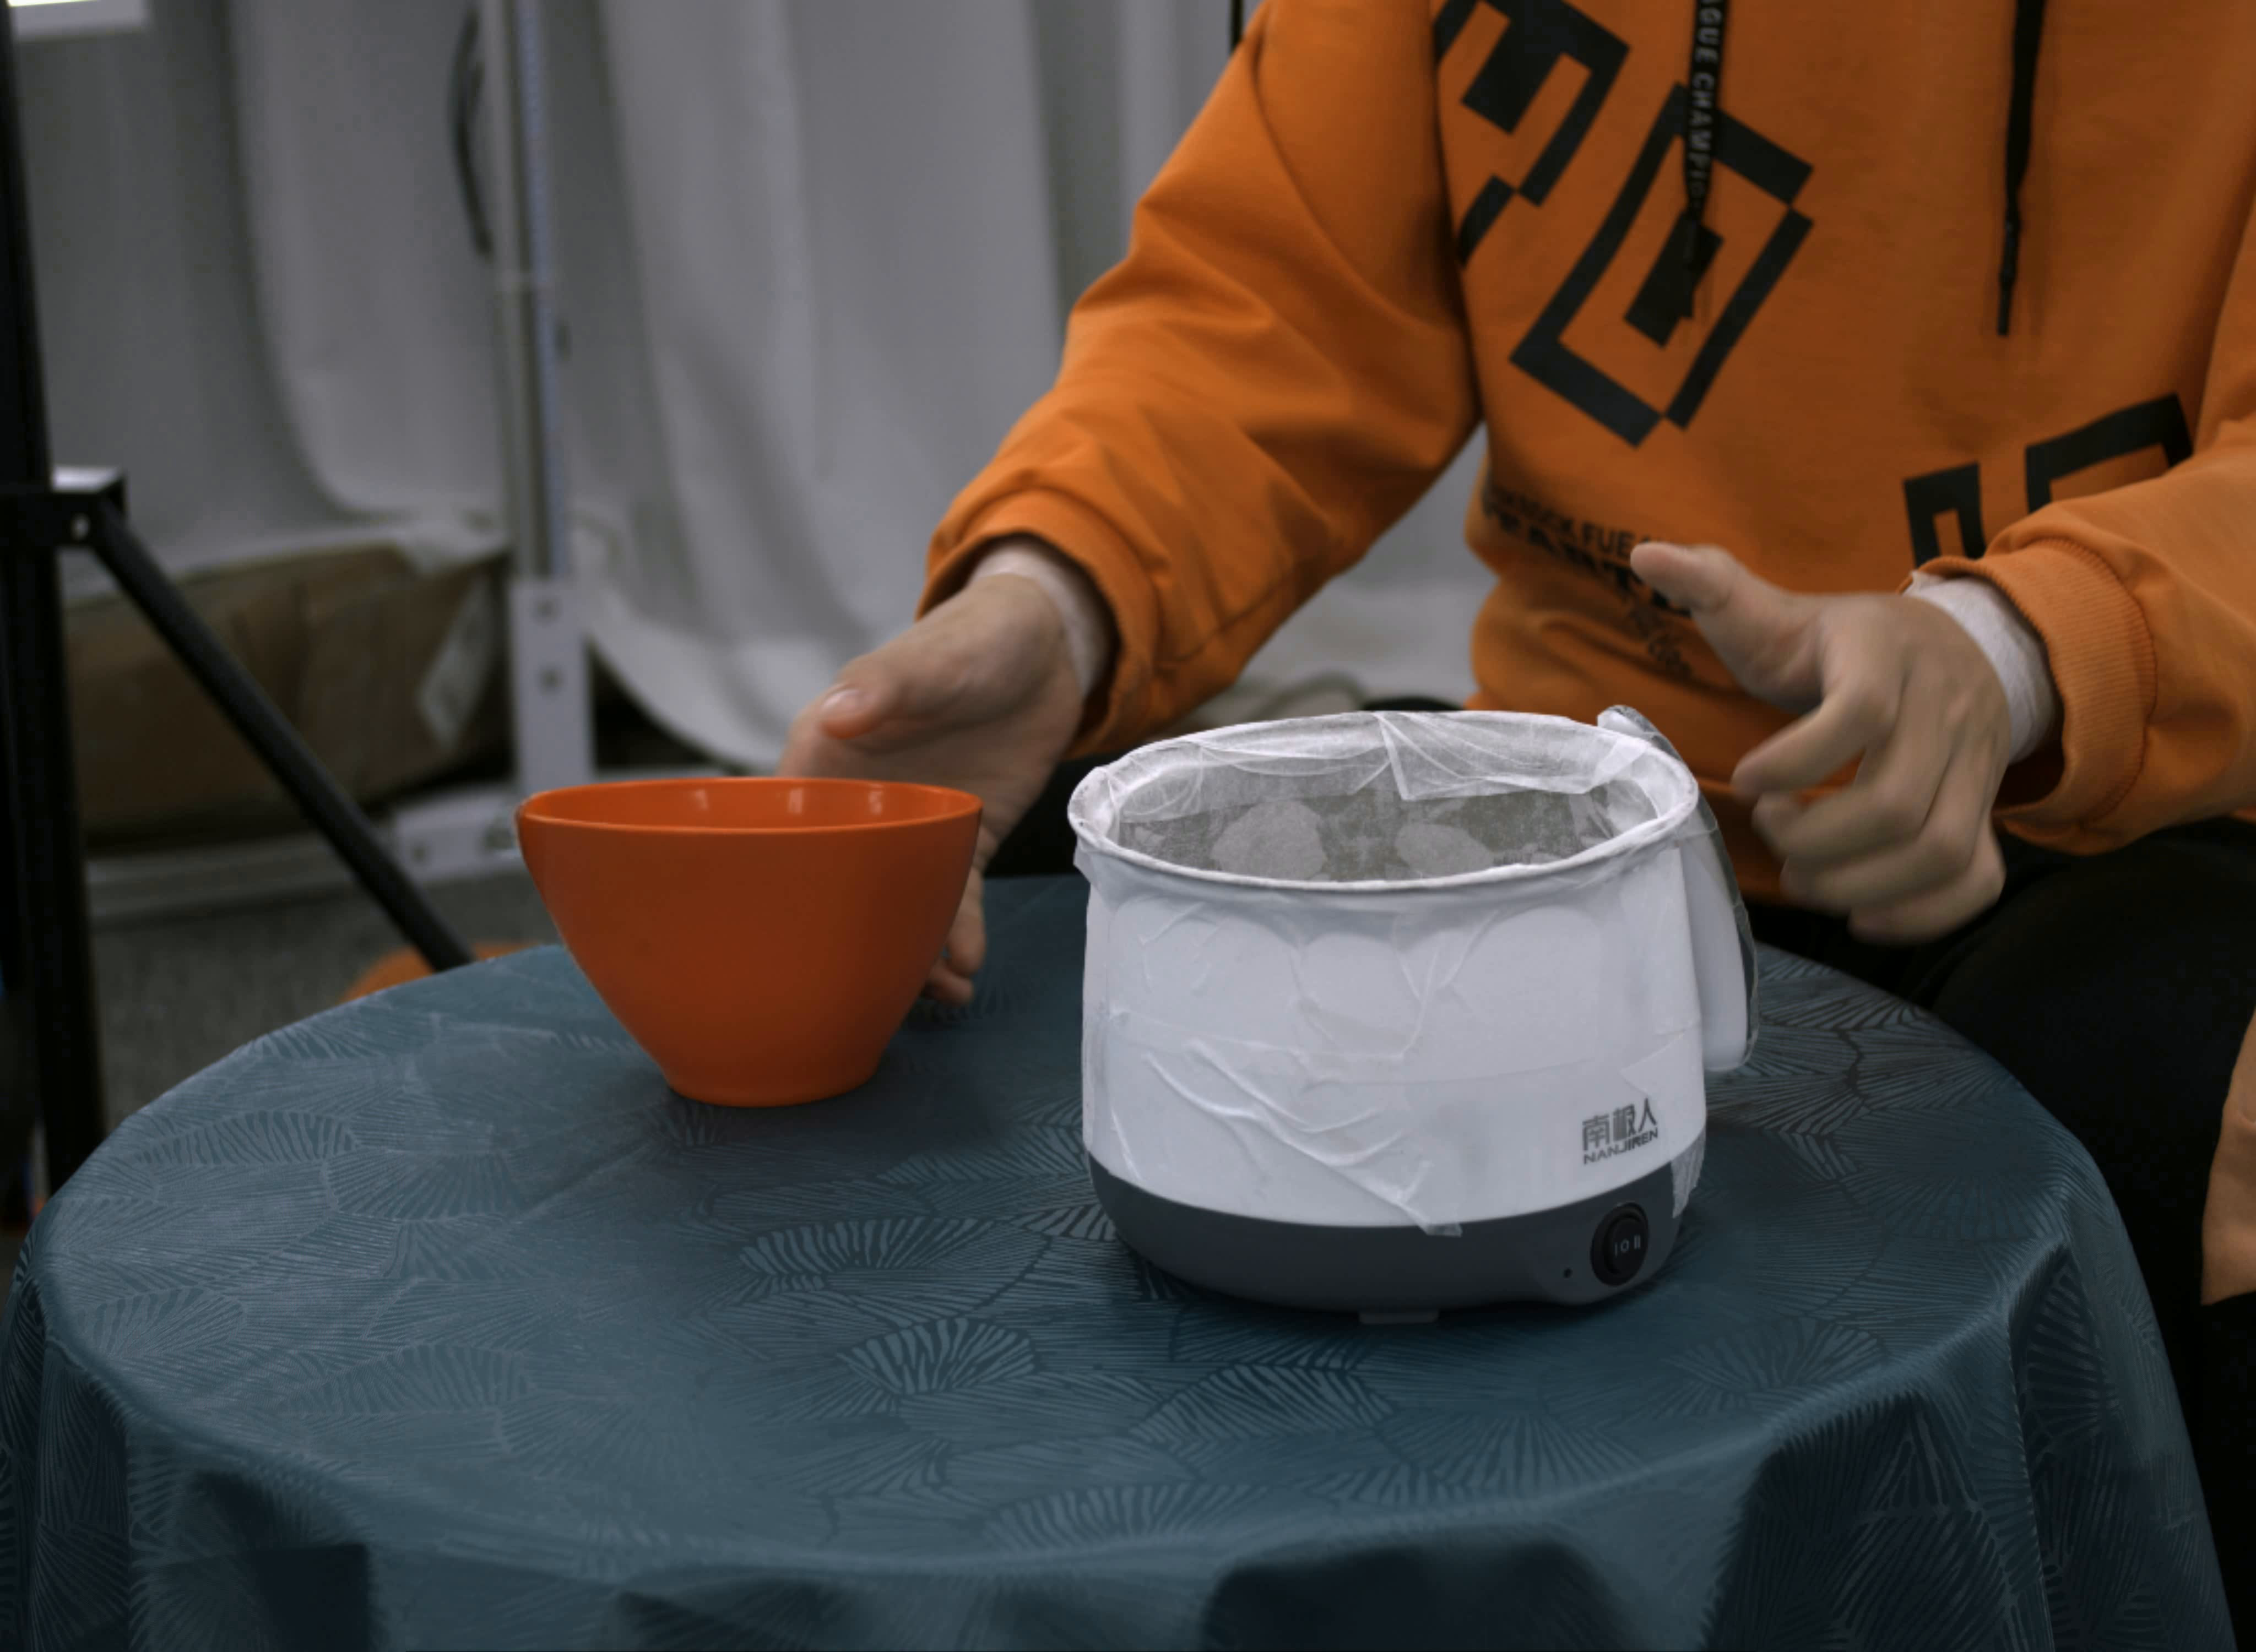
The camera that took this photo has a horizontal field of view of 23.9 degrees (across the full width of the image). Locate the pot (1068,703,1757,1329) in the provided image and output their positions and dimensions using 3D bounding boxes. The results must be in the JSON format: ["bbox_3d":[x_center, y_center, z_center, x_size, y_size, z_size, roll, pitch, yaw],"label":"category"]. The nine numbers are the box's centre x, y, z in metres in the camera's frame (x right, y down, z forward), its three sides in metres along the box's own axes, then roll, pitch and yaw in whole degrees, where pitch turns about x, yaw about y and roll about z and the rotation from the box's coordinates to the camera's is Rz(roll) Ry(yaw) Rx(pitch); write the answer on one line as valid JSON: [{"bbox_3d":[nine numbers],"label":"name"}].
[{"bbox_3d":[0.093,0.046,1.510,0.228,0.136,0.183,-17,22,-41],"label":"pot"}]

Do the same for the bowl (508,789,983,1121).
[{"bbox_3d":[-0.117,0.036,1.658,0.147,0.105,0.149,-2,14,-1],"label":"bowl"}]
